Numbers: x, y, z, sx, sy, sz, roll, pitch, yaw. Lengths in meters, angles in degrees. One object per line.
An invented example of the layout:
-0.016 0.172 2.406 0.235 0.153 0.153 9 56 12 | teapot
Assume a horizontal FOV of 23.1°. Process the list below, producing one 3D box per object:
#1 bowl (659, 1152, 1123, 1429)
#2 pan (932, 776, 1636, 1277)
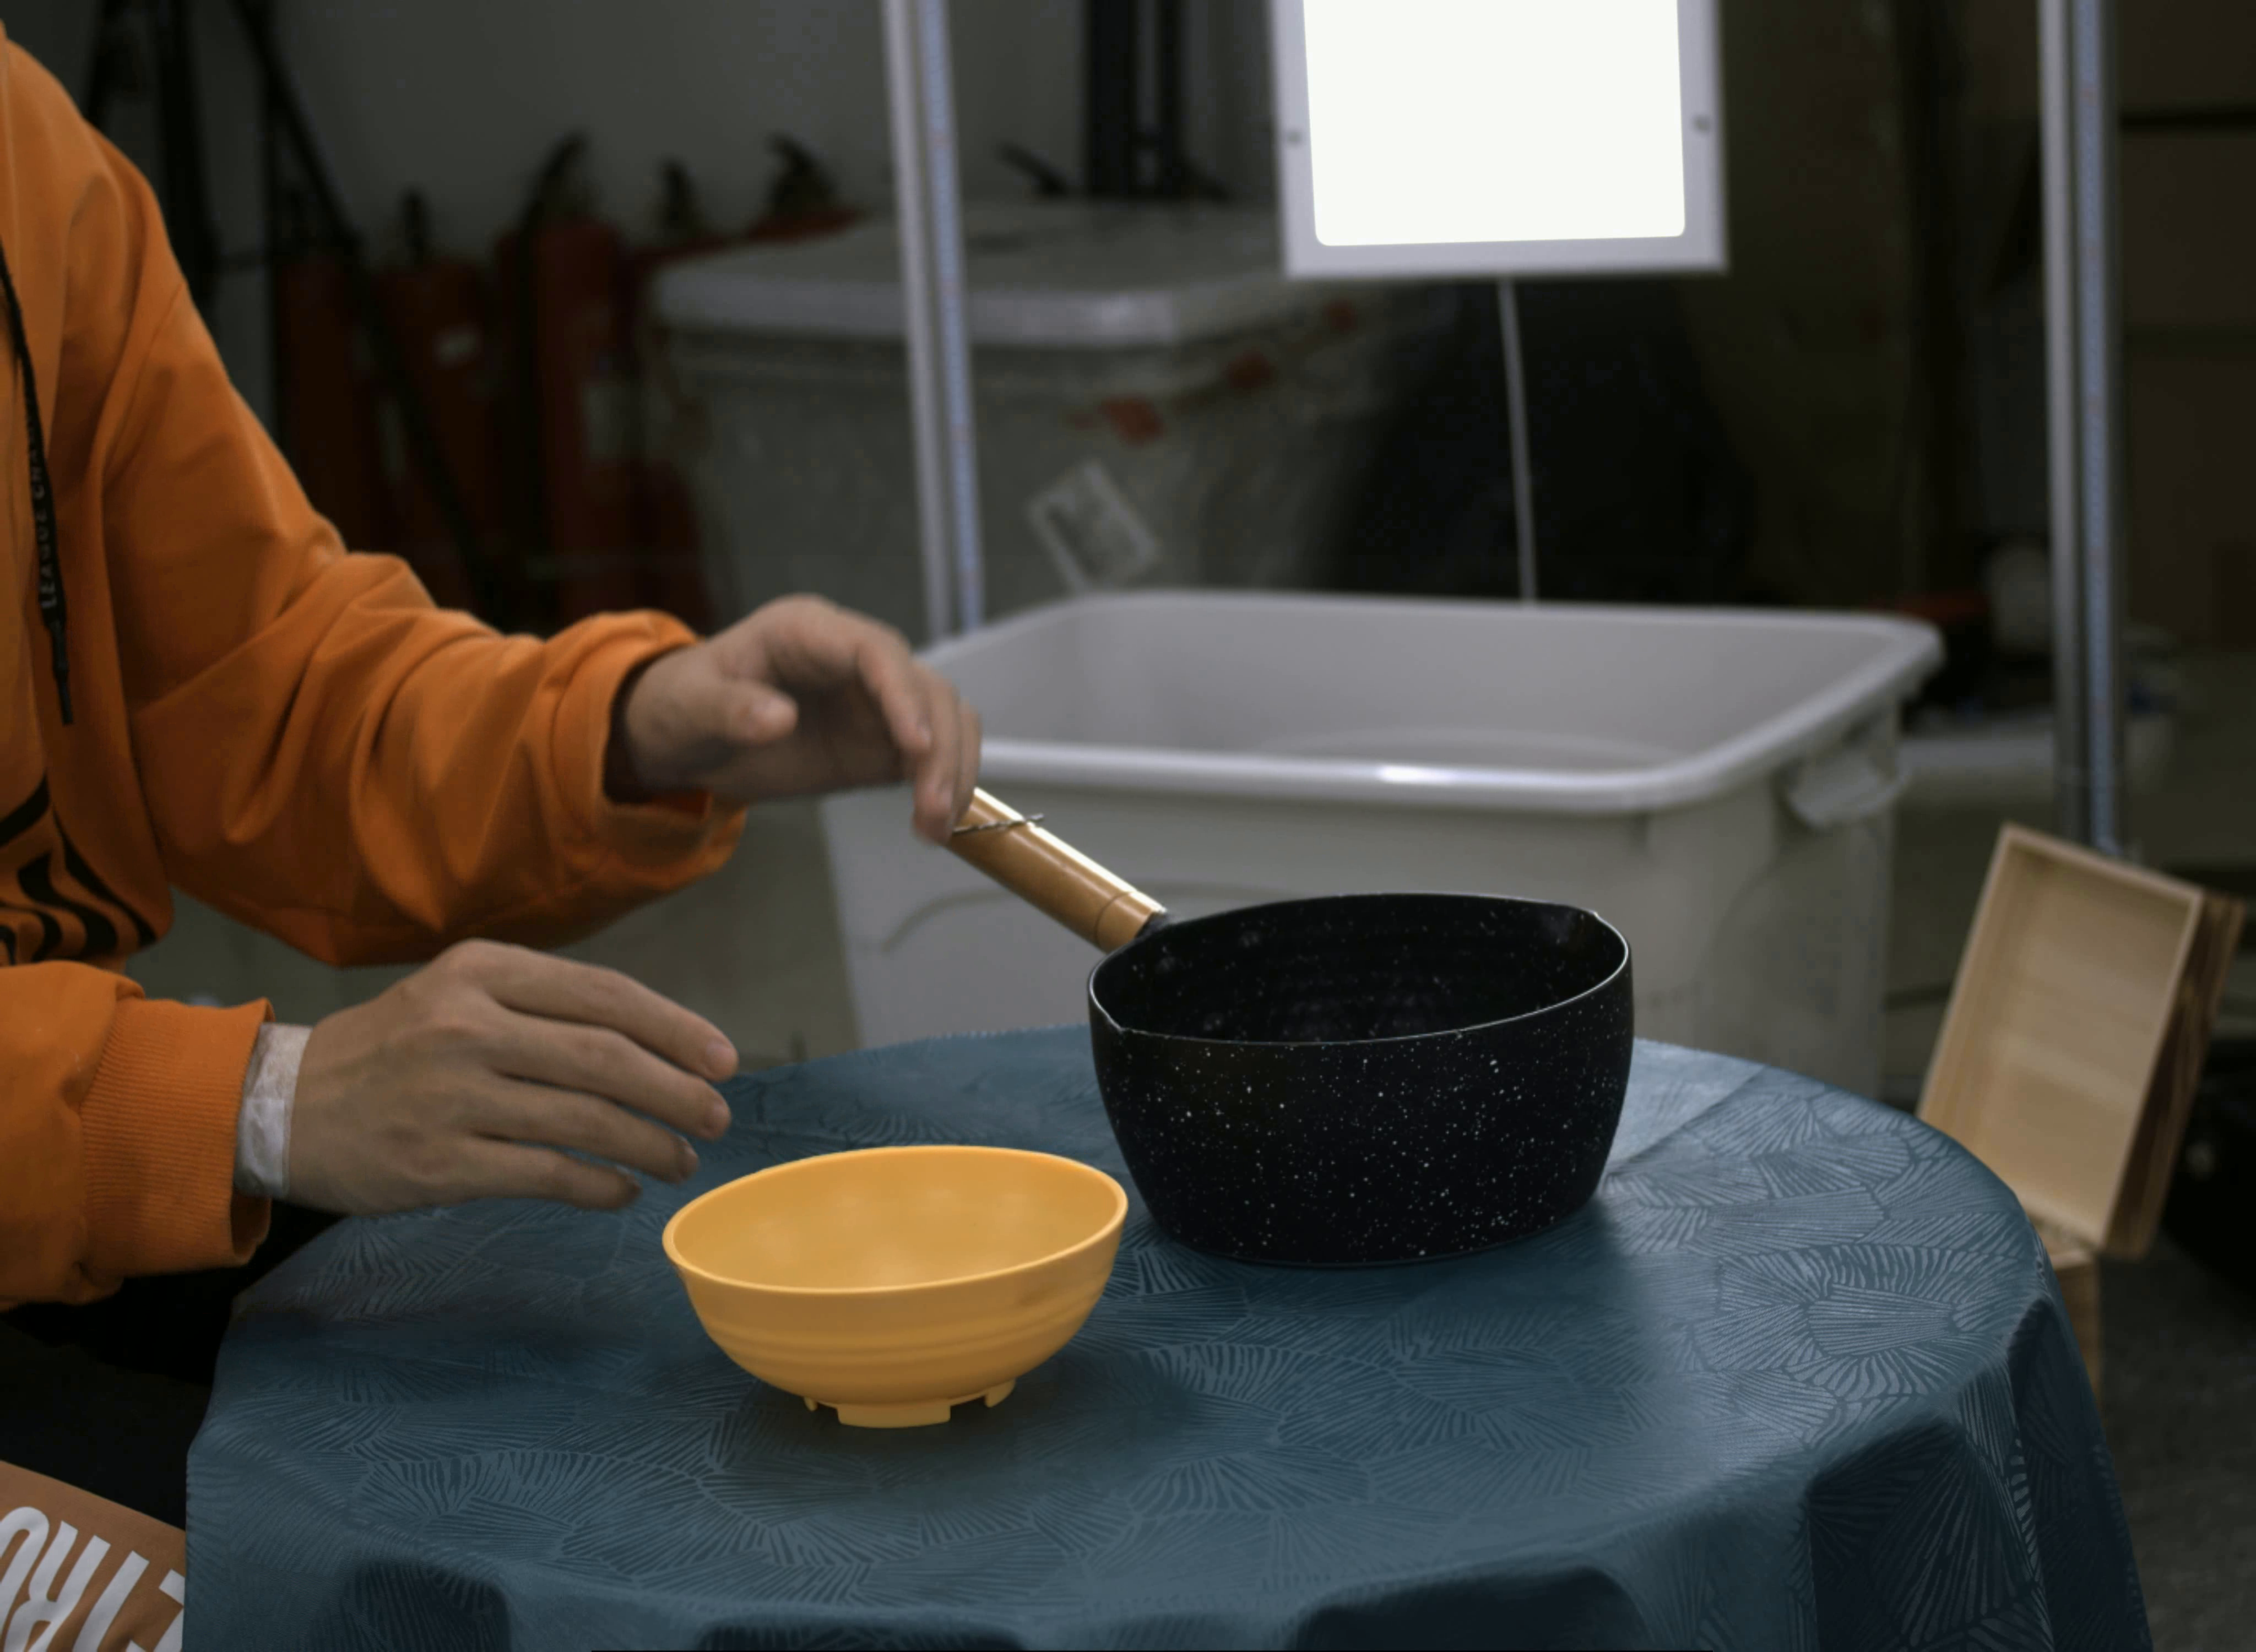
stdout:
-0.072 0.149 1.711 0.145 0.060 0.145 -4 13 -1 | bowl
0.033 0.063 1.917 0.202 0.108 0.349 -16 19 -32 | pan
